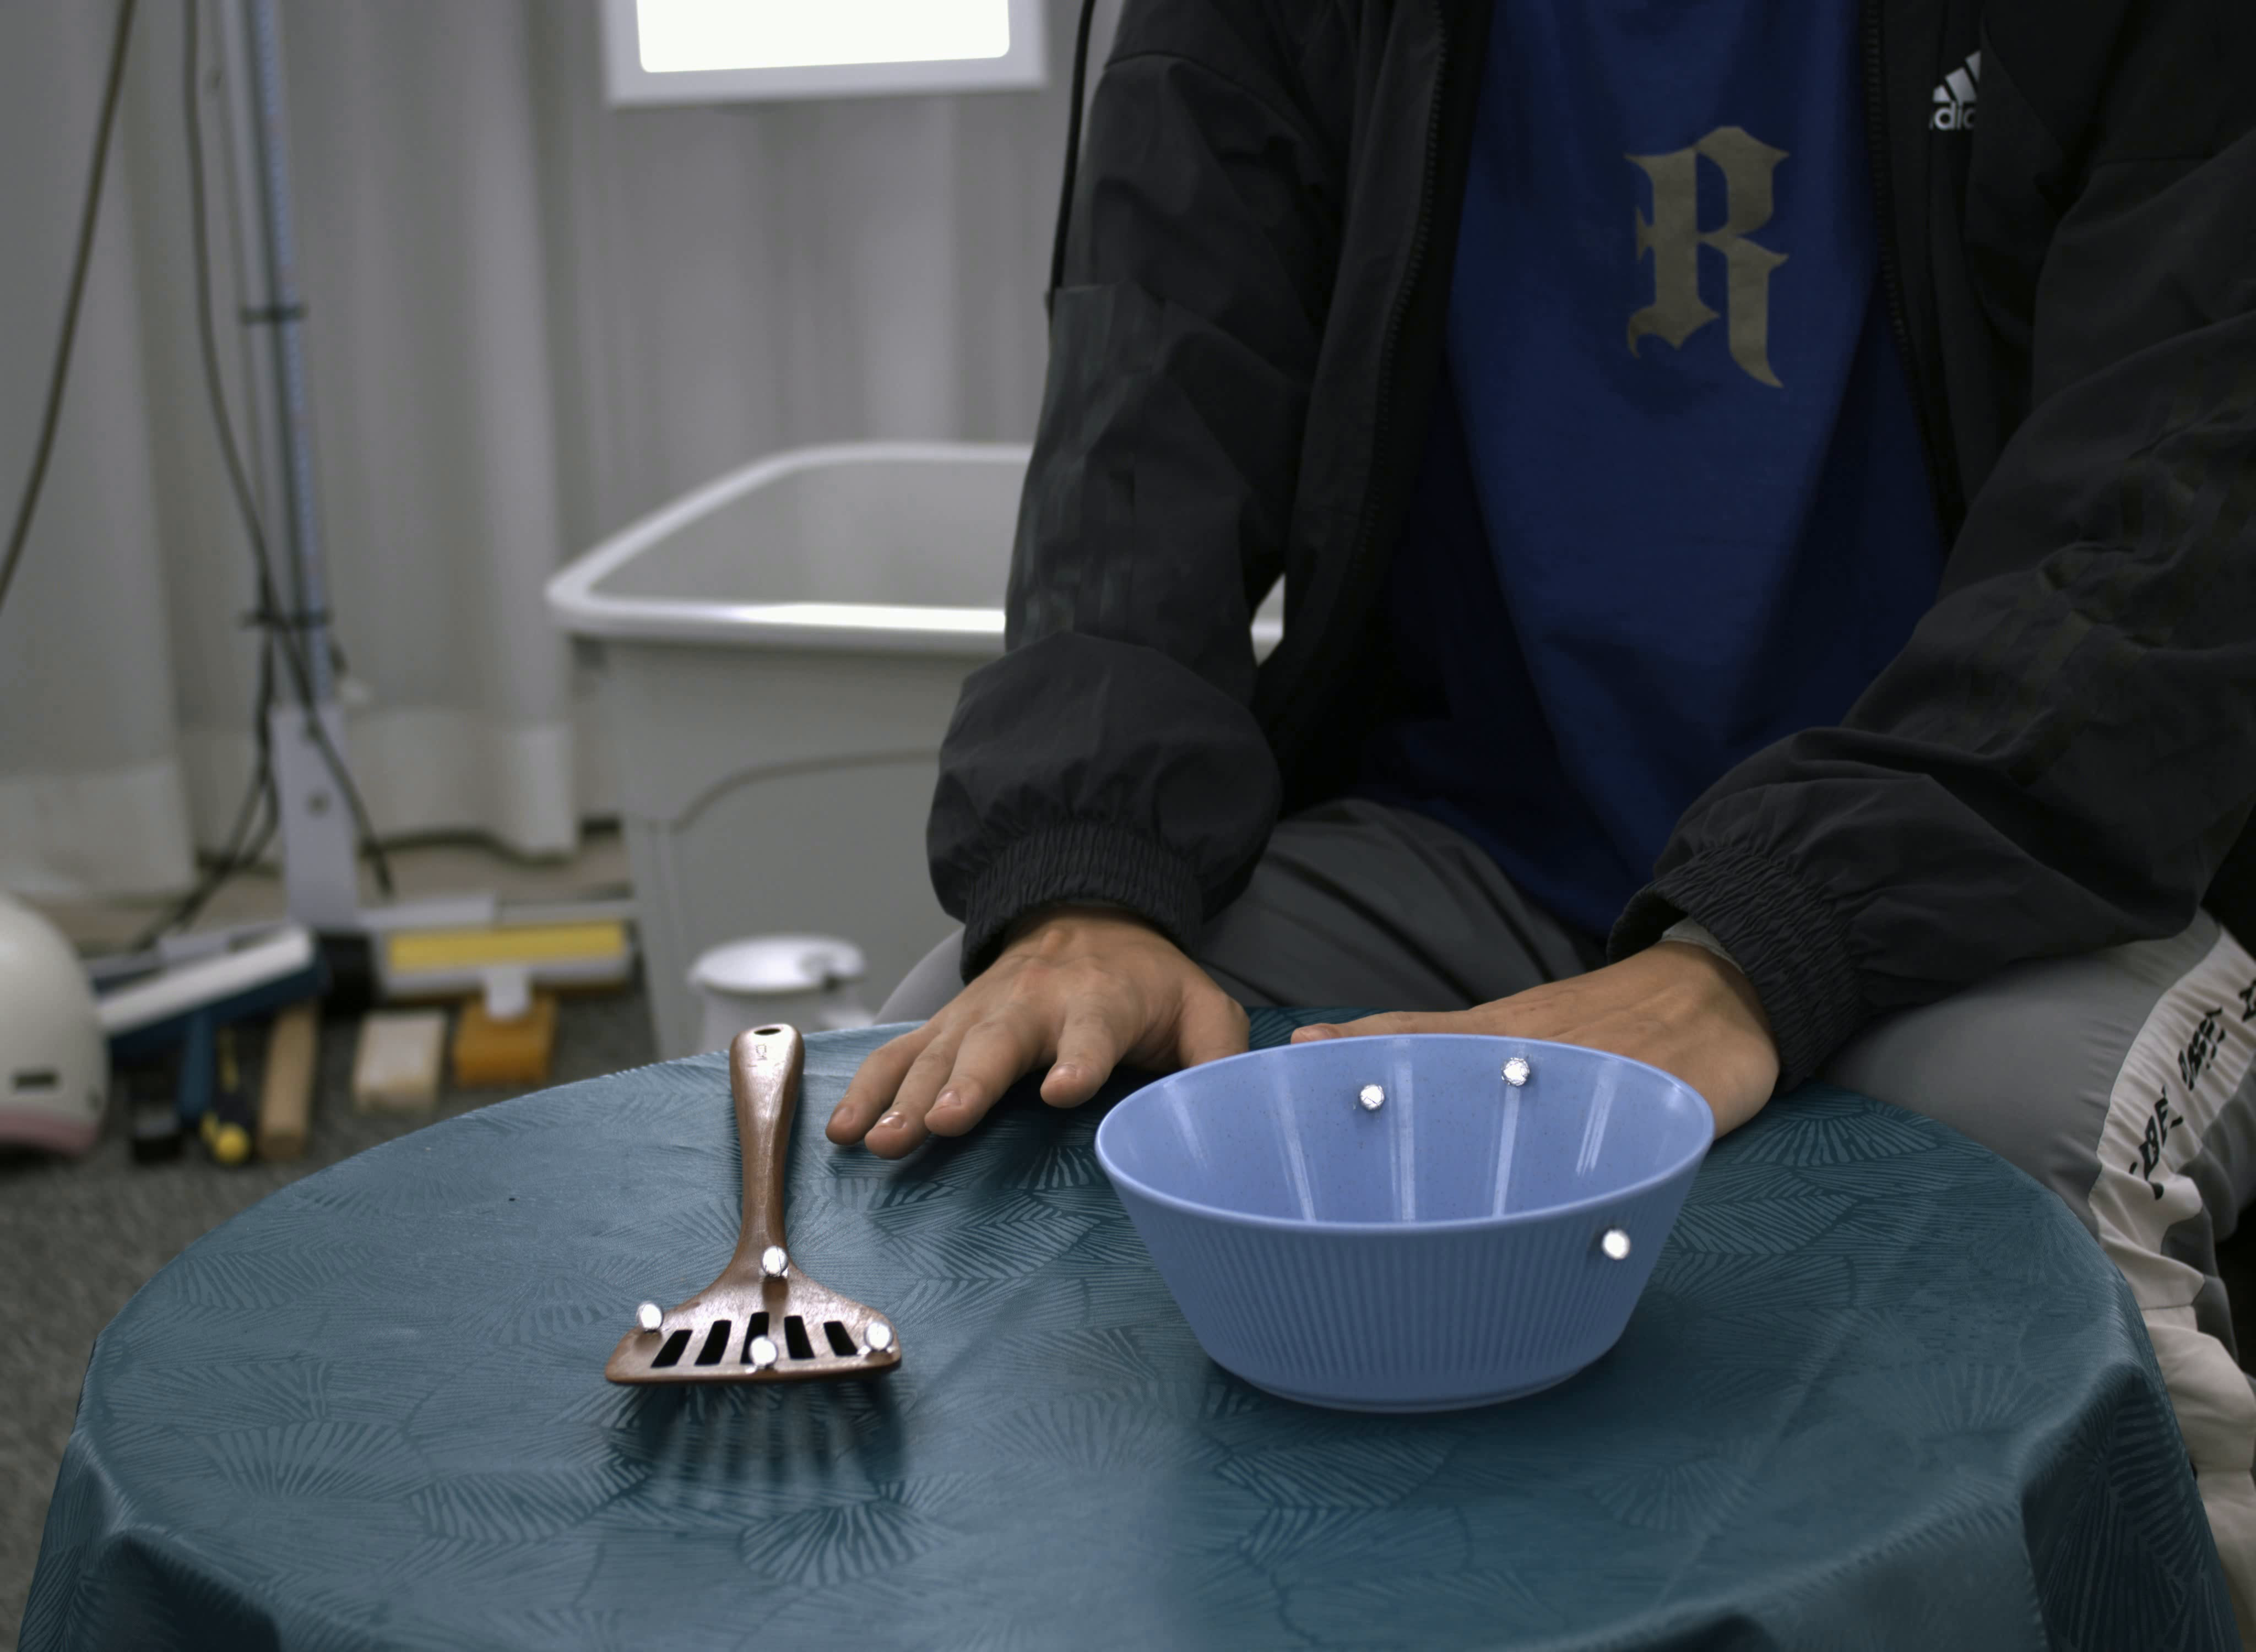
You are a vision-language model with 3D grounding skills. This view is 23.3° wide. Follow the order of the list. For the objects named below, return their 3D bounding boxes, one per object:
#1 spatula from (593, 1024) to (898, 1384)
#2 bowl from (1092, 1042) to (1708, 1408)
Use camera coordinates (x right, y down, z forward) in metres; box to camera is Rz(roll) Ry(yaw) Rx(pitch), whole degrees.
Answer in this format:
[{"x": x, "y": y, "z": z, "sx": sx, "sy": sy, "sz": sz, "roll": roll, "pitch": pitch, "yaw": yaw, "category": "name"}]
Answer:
[{"x": -0.112, "y": 0.117, "z": 1.684, "sx": 0.085, "sy": 0.024, "sz": 0.389, "roll": -2, "pitch": 13, "yaw": -2, "category": "spatula"}, {"x": 0.078, "y": 0.116, "z": 1.555, "sx": 0.175, "sy": 0.070, "sz": 0.177, "roll": -2, "pitch": 13, "yaw": 0, "category": "bowl"}]
